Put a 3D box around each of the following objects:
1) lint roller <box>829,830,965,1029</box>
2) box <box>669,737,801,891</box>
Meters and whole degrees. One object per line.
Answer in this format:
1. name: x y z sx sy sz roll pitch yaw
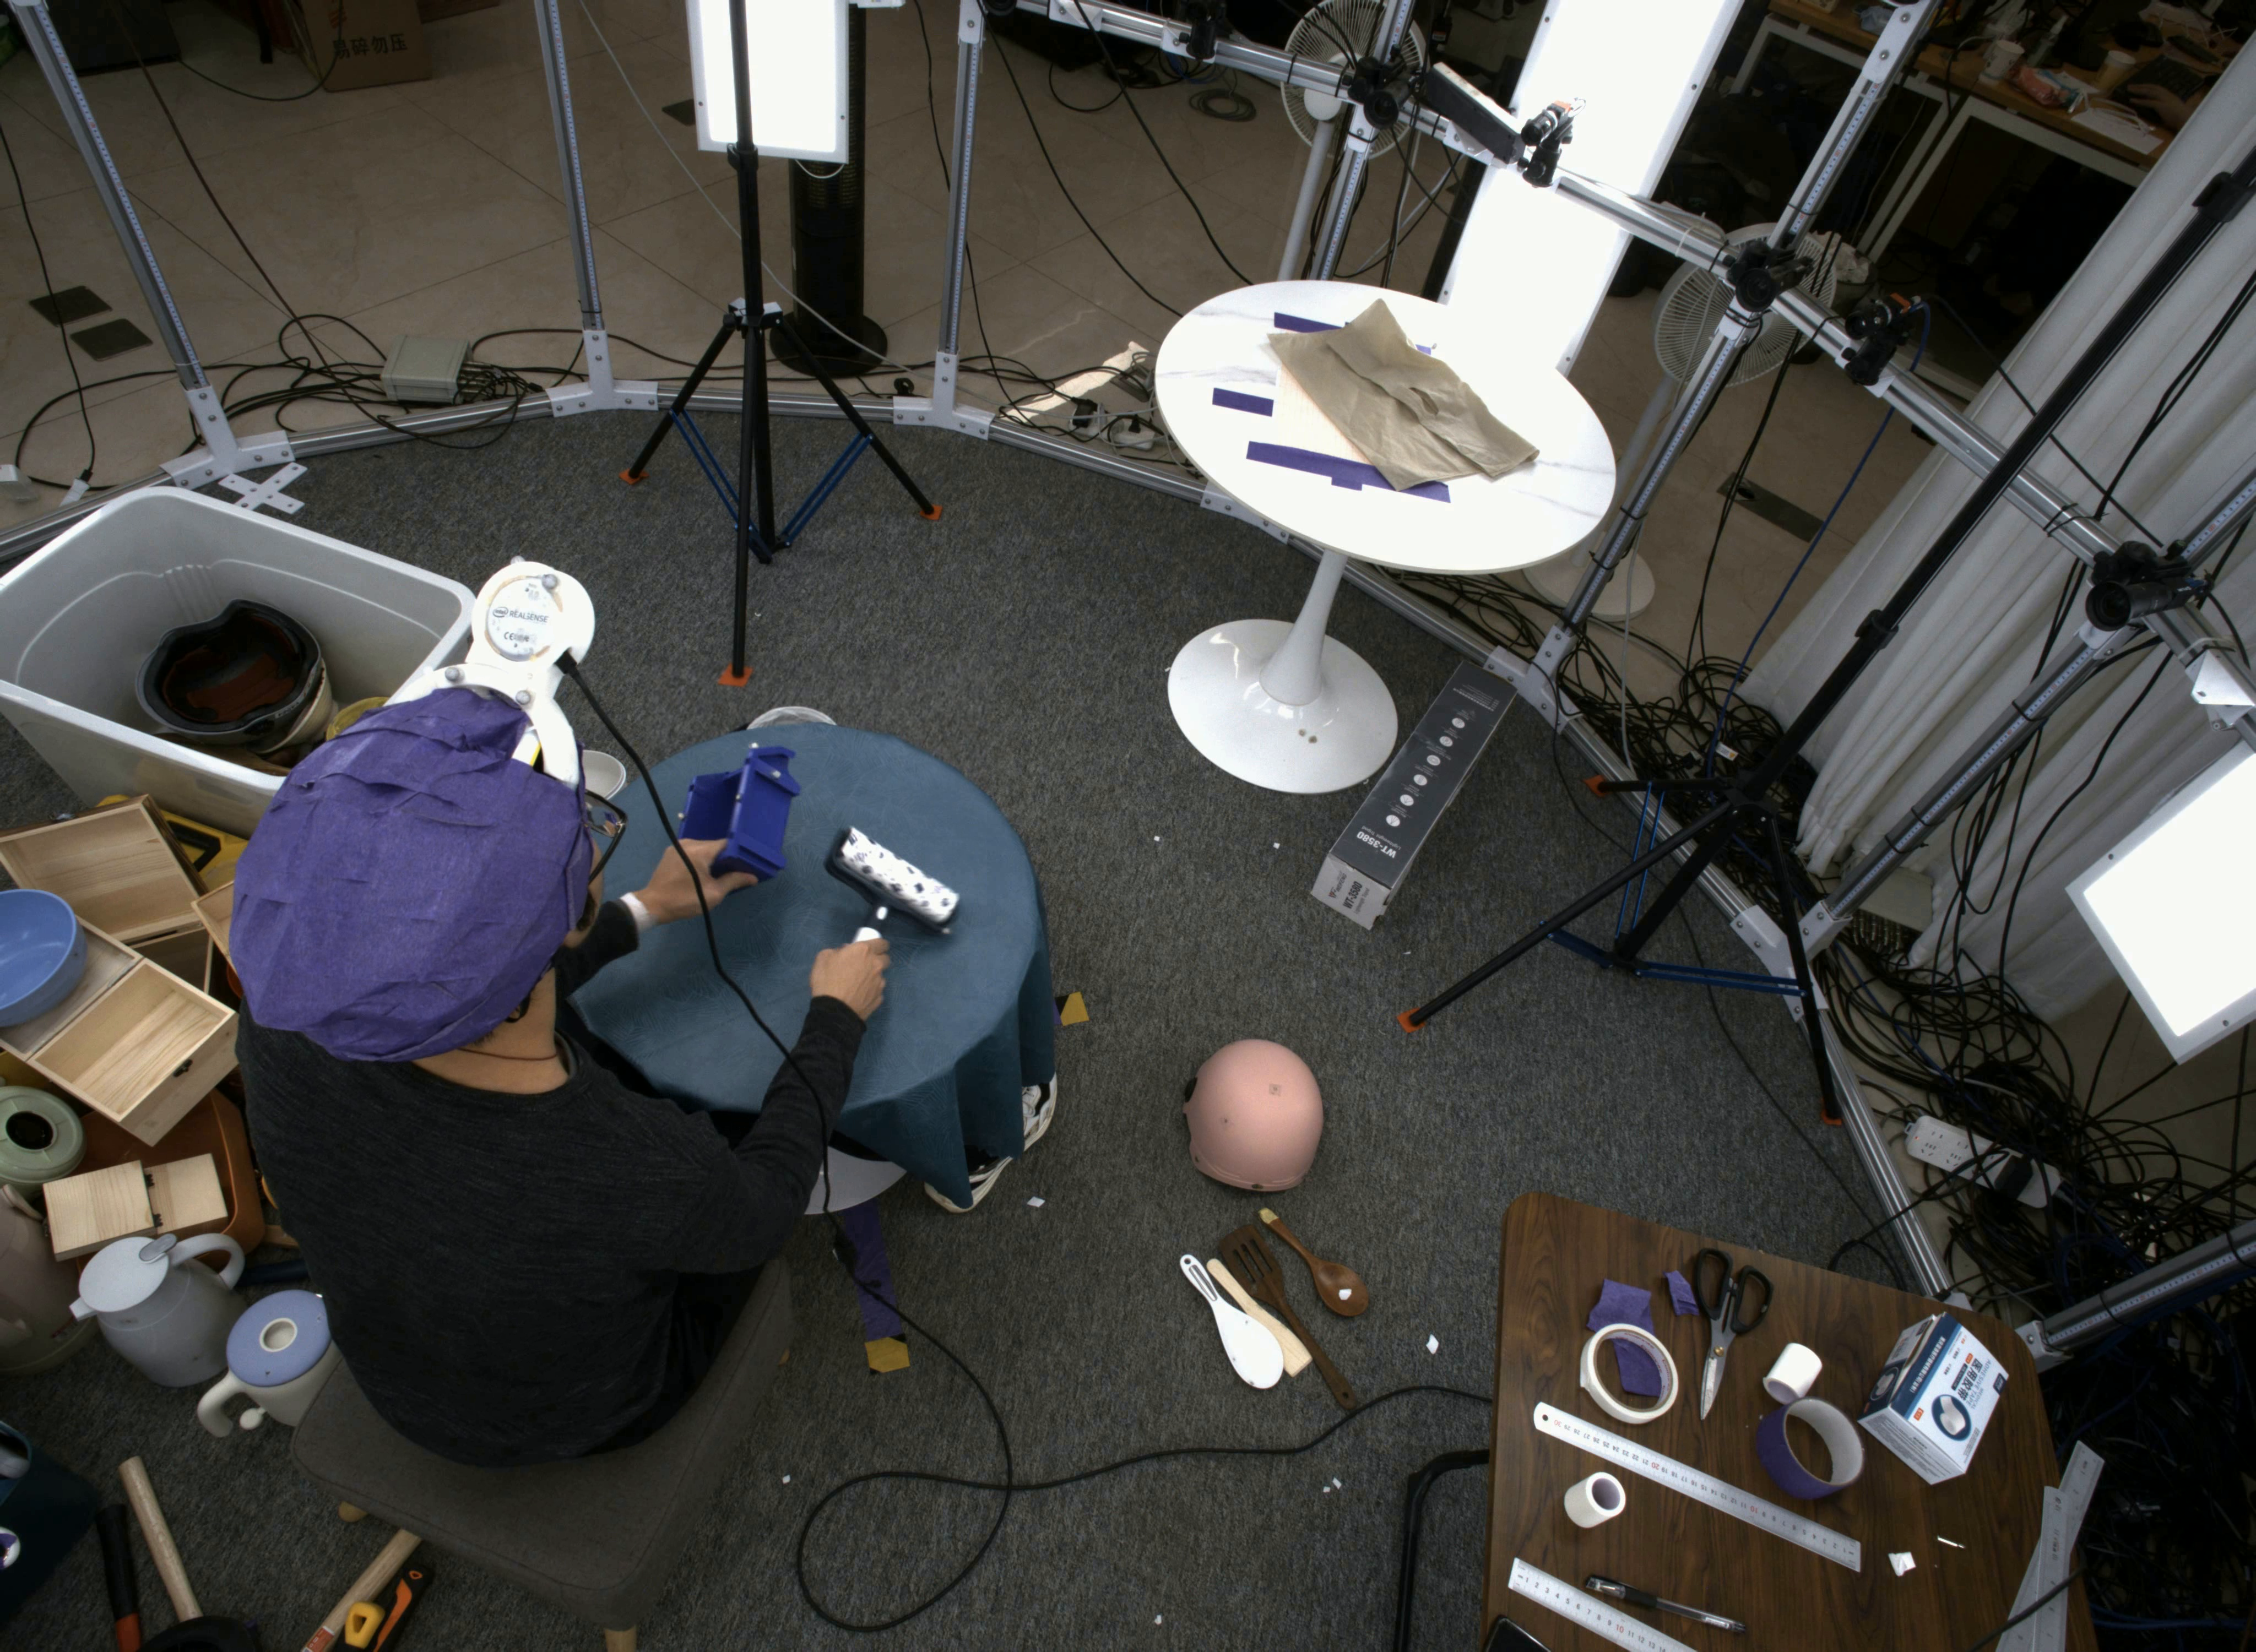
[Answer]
1. lint roller: -0.307 0.136 1.575 0.179 0.050 0.243 32 46 -19
2. box: -0.477 -0.018 1.577 0.085 0.122 0.177 35 47 -47
